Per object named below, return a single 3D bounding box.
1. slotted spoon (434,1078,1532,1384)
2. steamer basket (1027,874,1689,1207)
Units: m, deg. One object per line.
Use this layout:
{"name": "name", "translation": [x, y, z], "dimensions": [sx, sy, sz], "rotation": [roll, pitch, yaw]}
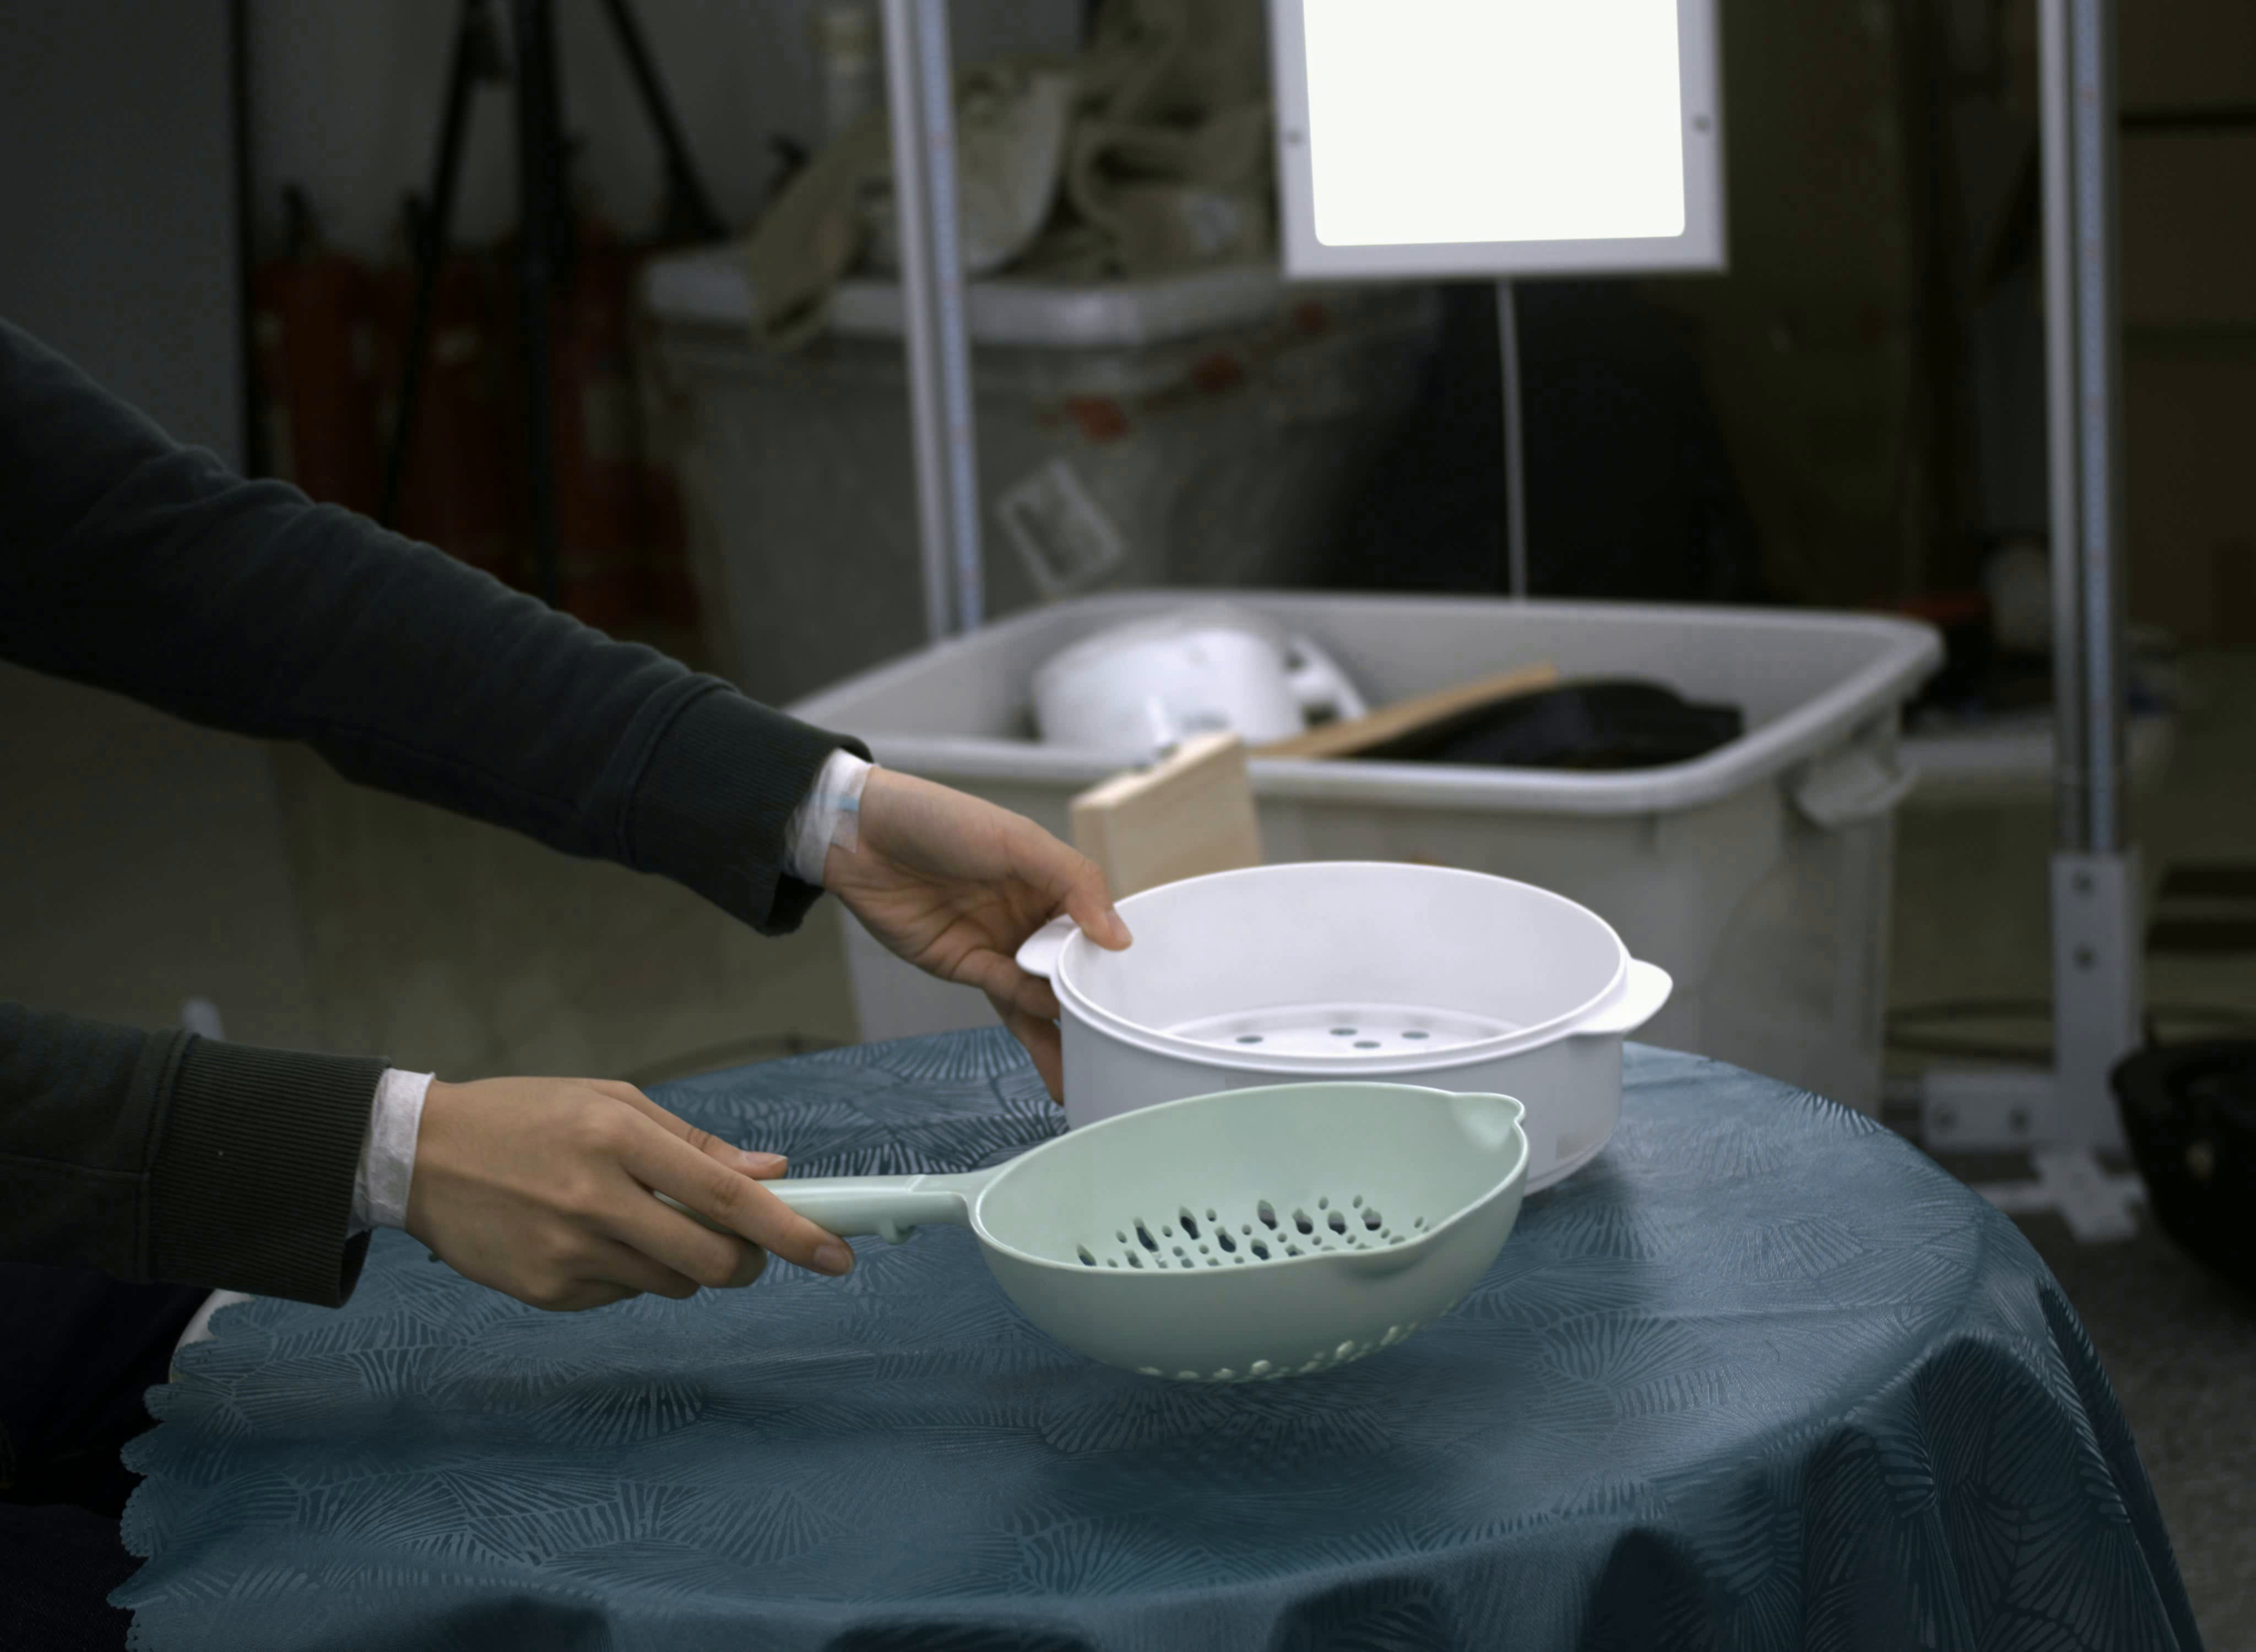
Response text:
{"name": "slotted spoon", "translation": [-0.052, 0.120, 1.696], "dimensions": [0.363, 0.076, 0.166], "rotation": [5, 17, 20]}
{"name": "steamer basket", "translation": [0.079, 0.077, 1.897], "dimensions": [0.233, 0.069, 0.198], "rotation": [4, 18, 20]}
